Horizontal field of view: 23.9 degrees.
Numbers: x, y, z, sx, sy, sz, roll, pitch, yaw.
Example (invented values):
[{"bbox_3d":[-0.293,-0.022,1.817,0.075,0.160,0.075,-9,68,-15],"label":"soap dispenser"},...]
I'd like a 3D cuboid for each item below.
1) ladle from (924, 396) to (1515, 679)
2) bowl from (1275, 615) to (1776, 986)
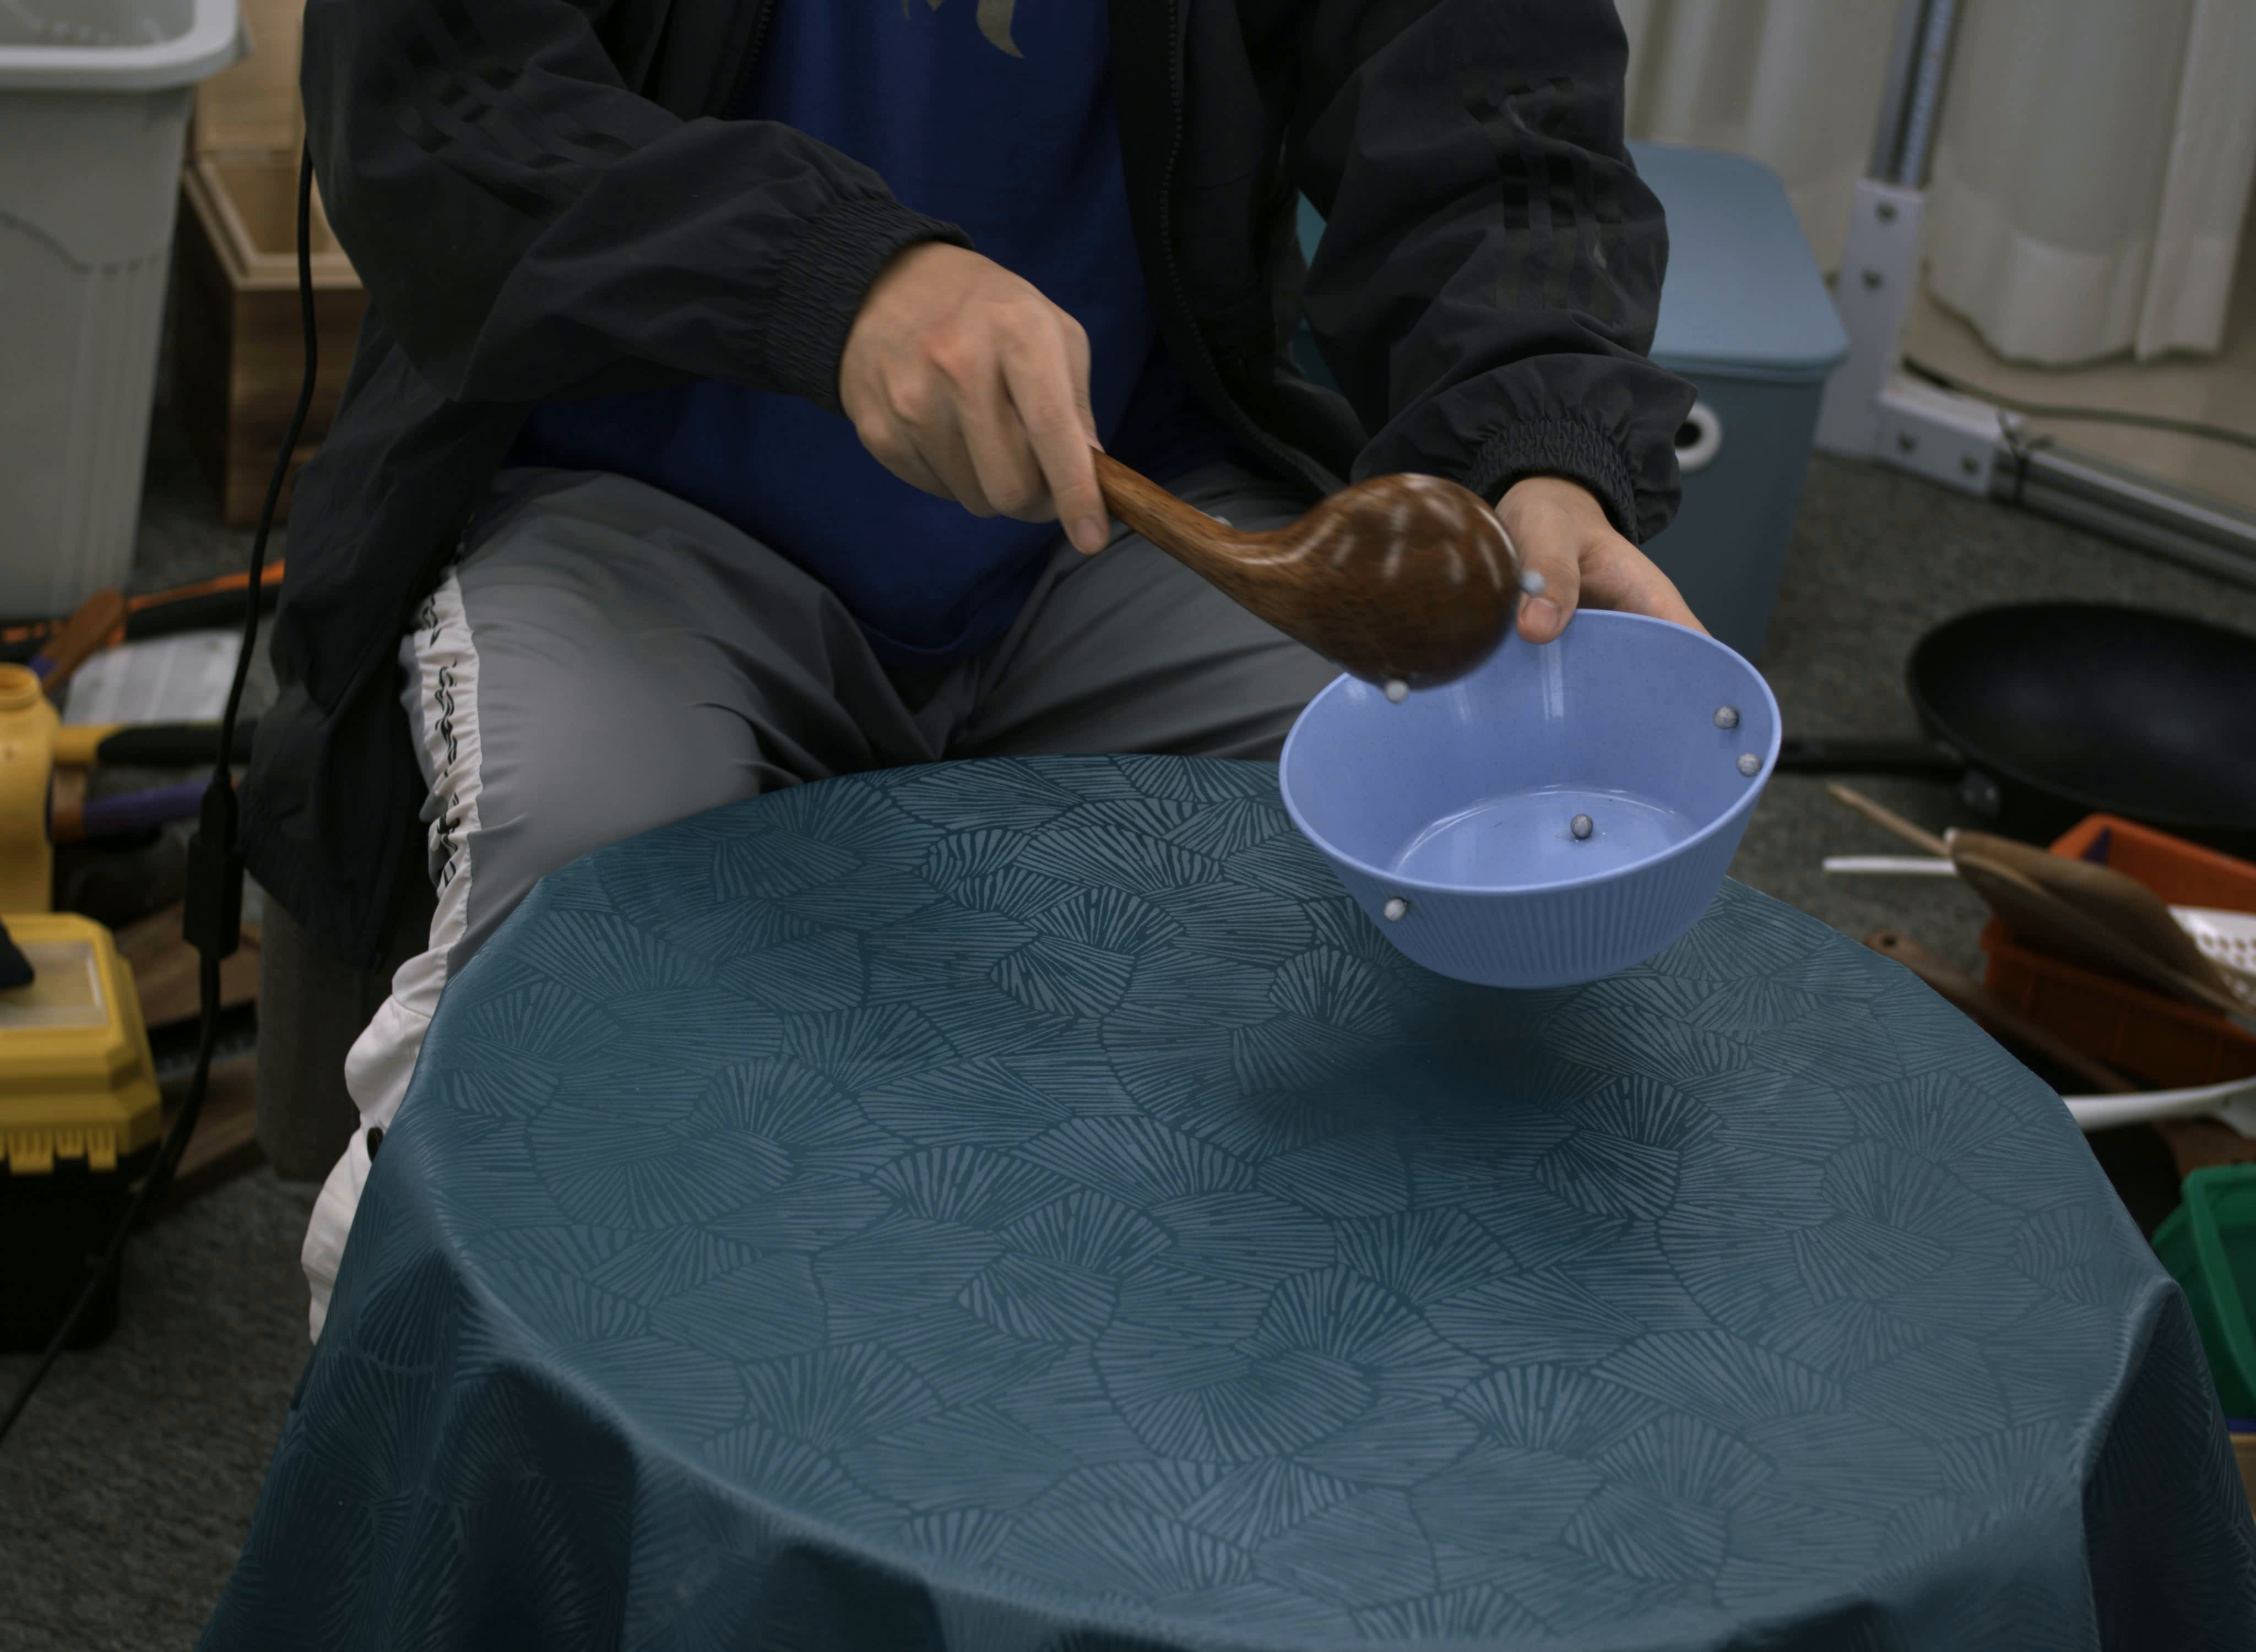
[{"bbox_3d":[0.031,-0.120,1.883,0.076,0.081,0.276,-19,29,-29],"label":"ladle"},{"bbox_3d":[0.142,-0.002,1.872,0.176,0.070,0.177,-8,32,4],"label":"bowl"}]
